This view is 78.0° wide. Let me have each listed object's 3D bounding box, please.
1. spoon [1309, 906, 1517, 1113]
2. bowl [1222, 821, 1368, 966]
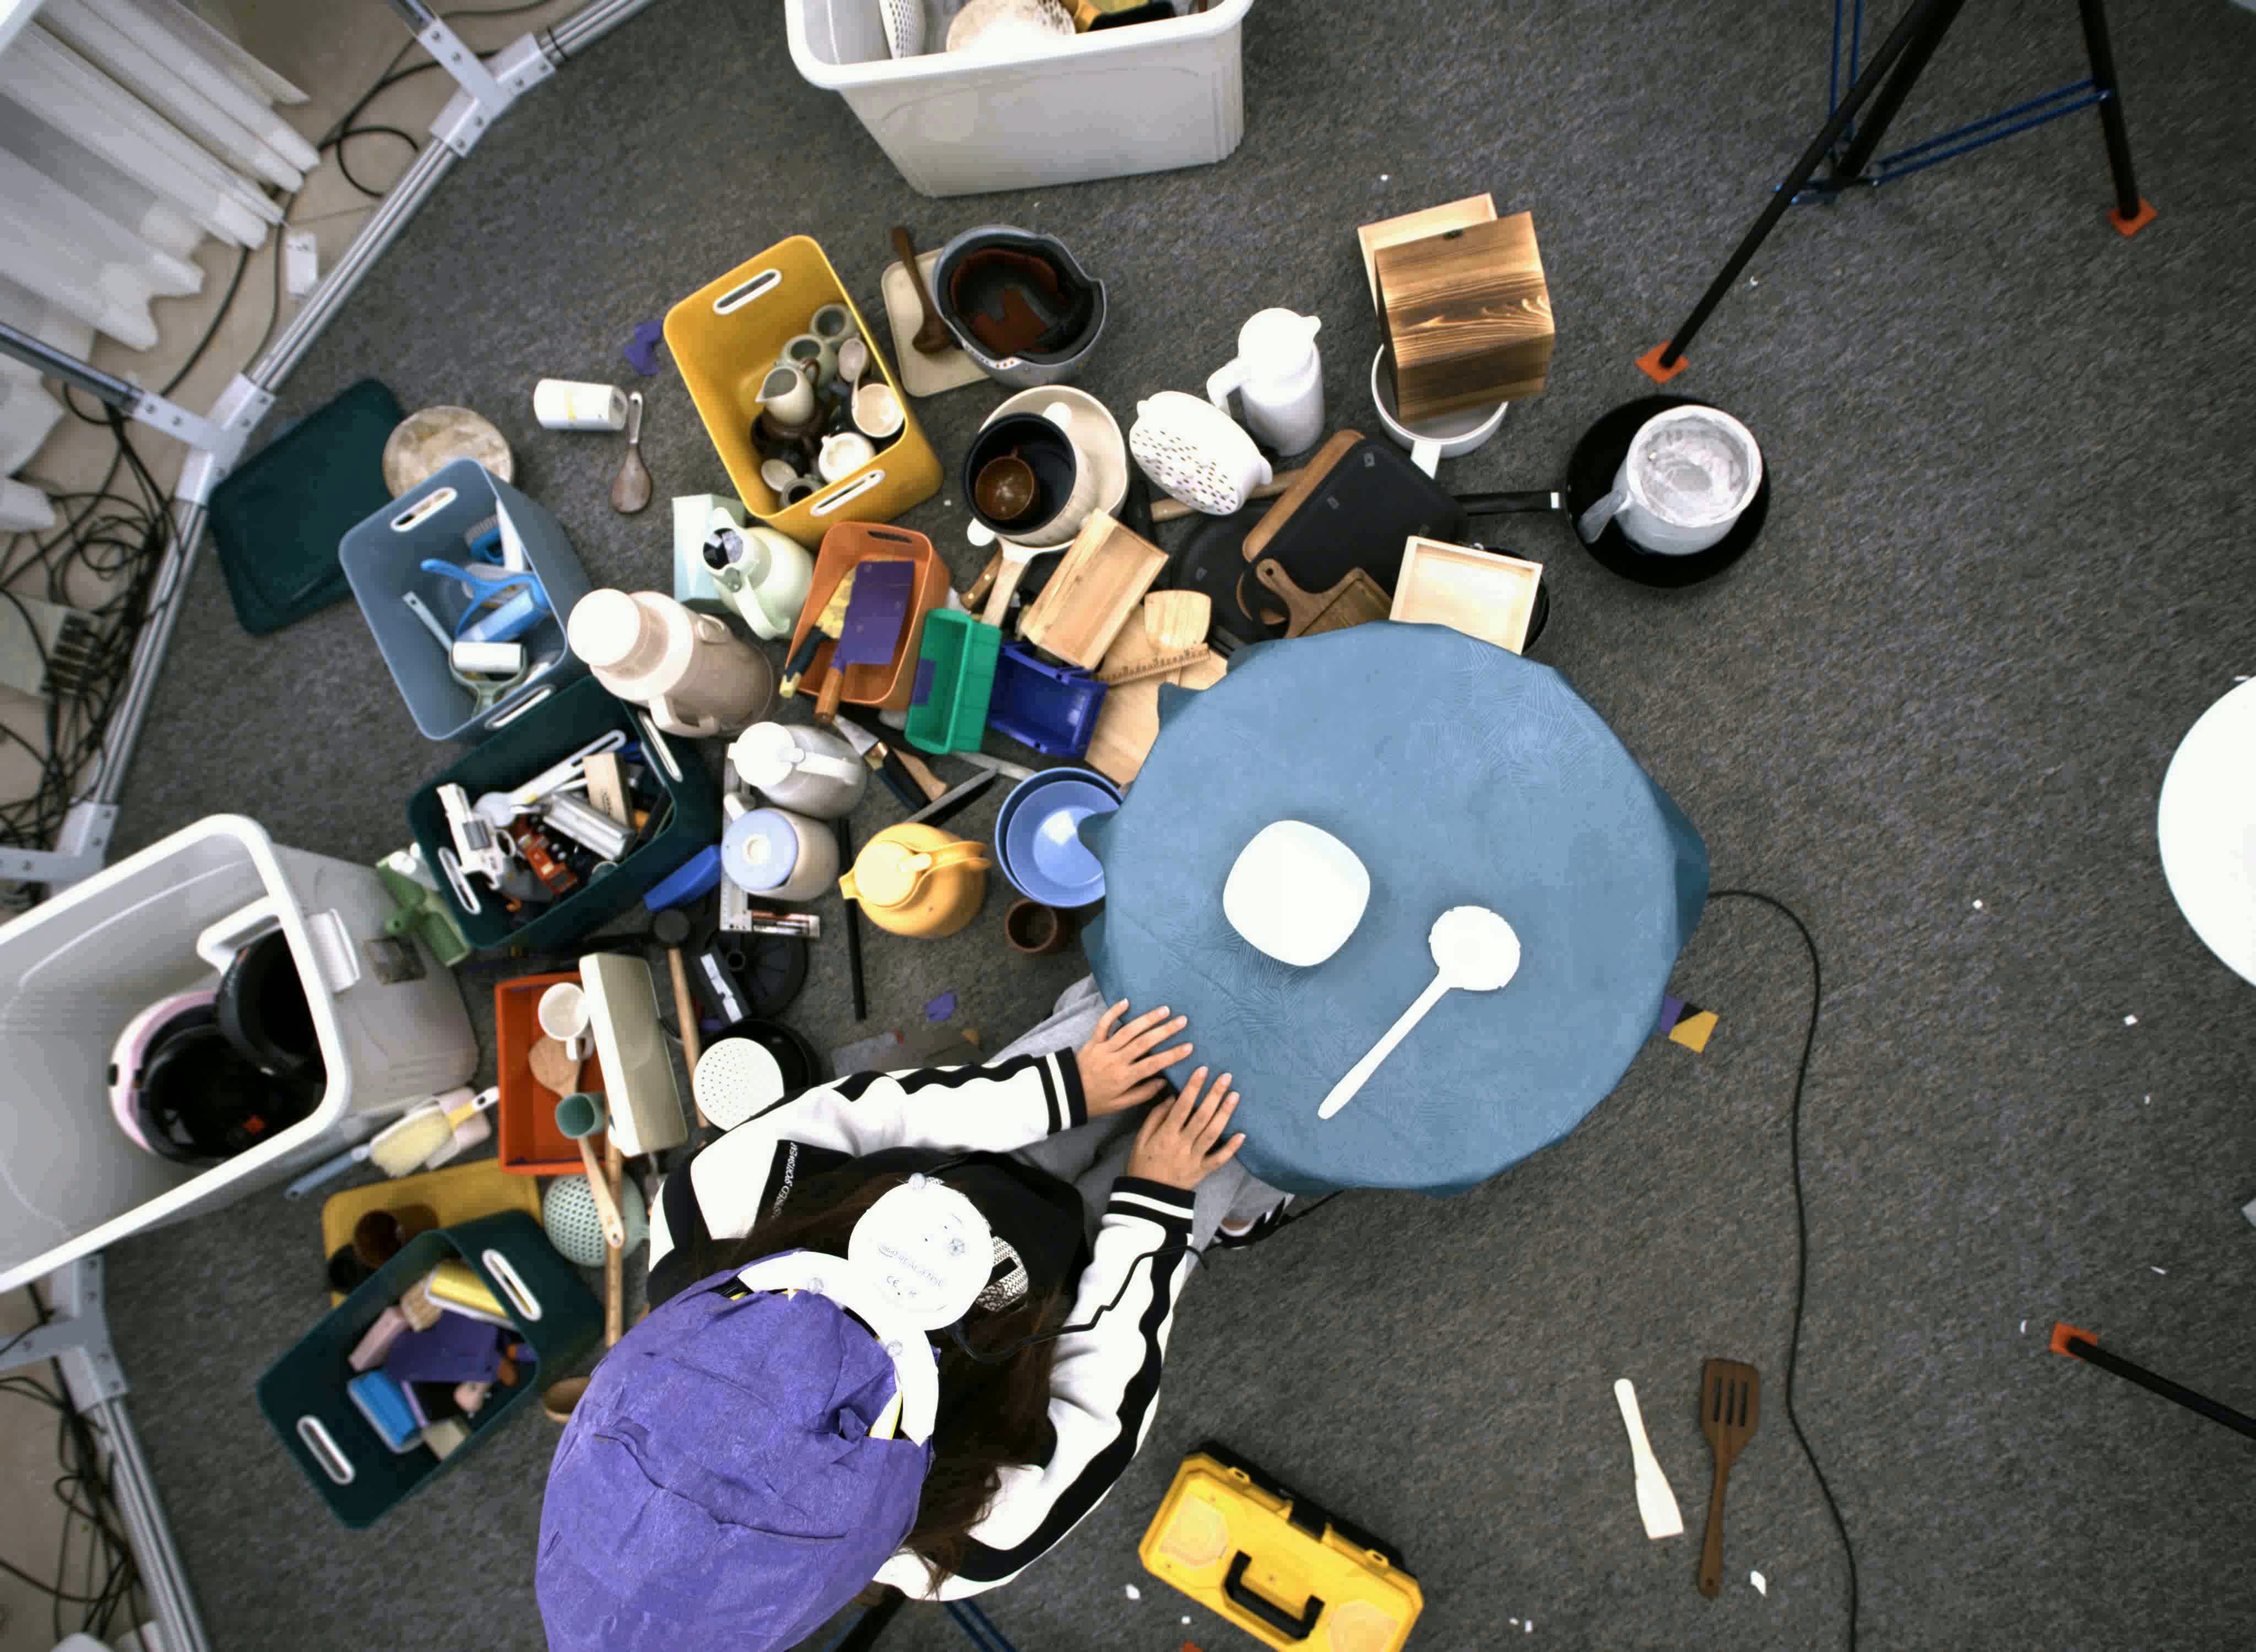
[{"bbox_3d":[0.282,0.192,1.422,0.278,0.059,0.100,-45,75,5],"label":"spoon"},{"bbox_3d":[0.176,0.071,1.451,0.152,0.058,0.151,-1,86,10],"label":"bowl"}]
